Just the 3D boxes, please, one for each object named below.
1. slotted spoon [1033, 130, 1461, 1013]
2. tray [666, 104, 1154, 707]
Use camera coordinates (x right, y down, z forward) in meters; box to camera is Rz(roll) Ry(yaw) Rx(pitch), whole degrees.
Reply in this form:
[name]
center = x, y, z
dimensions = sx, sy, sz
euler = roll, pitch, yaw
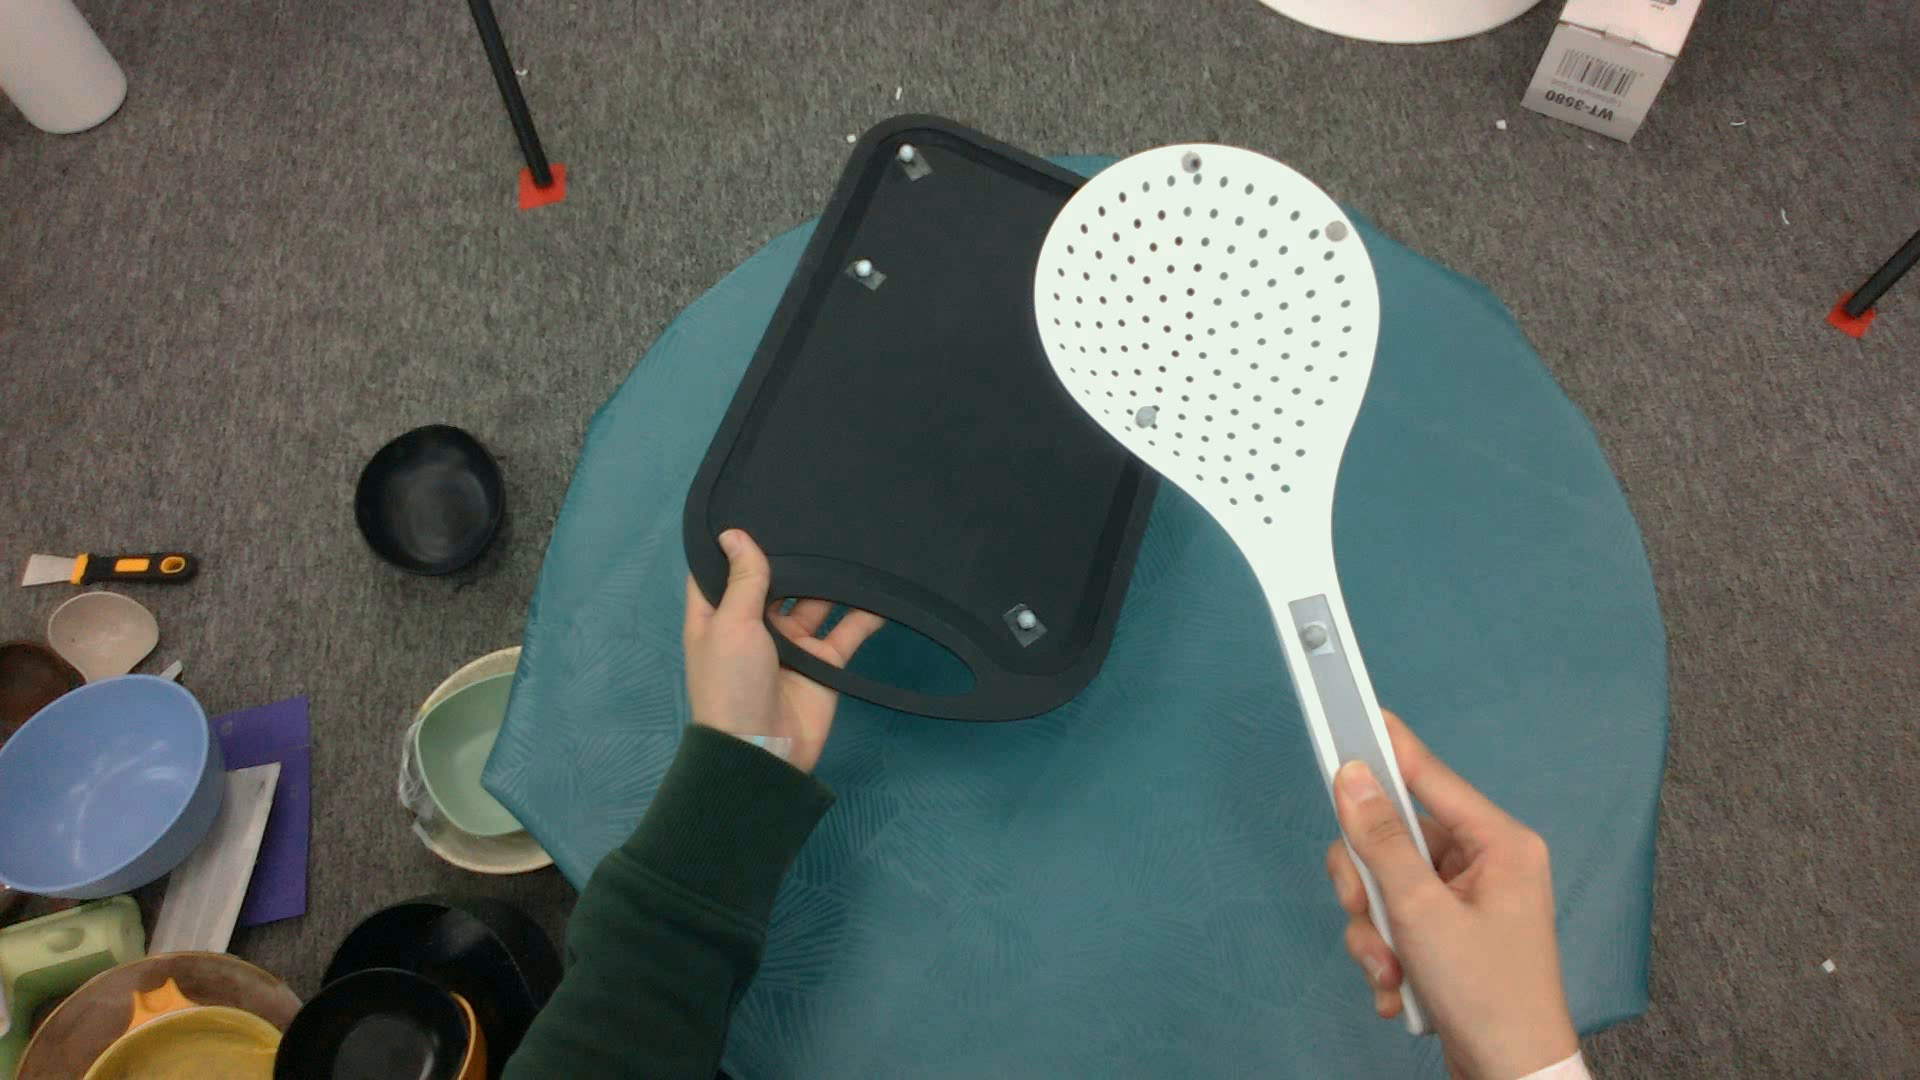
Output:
[slotted spoon]
center = 0.124, 0.002, 0.531
dimensions = 0.136, 0.045, 0.350
euler = -14, 72, -5
[tray]
center = -0.004, -0.075, 0.679
dimensions = 0.211, 0.010, 0.327
euler = 21, 63, -4
